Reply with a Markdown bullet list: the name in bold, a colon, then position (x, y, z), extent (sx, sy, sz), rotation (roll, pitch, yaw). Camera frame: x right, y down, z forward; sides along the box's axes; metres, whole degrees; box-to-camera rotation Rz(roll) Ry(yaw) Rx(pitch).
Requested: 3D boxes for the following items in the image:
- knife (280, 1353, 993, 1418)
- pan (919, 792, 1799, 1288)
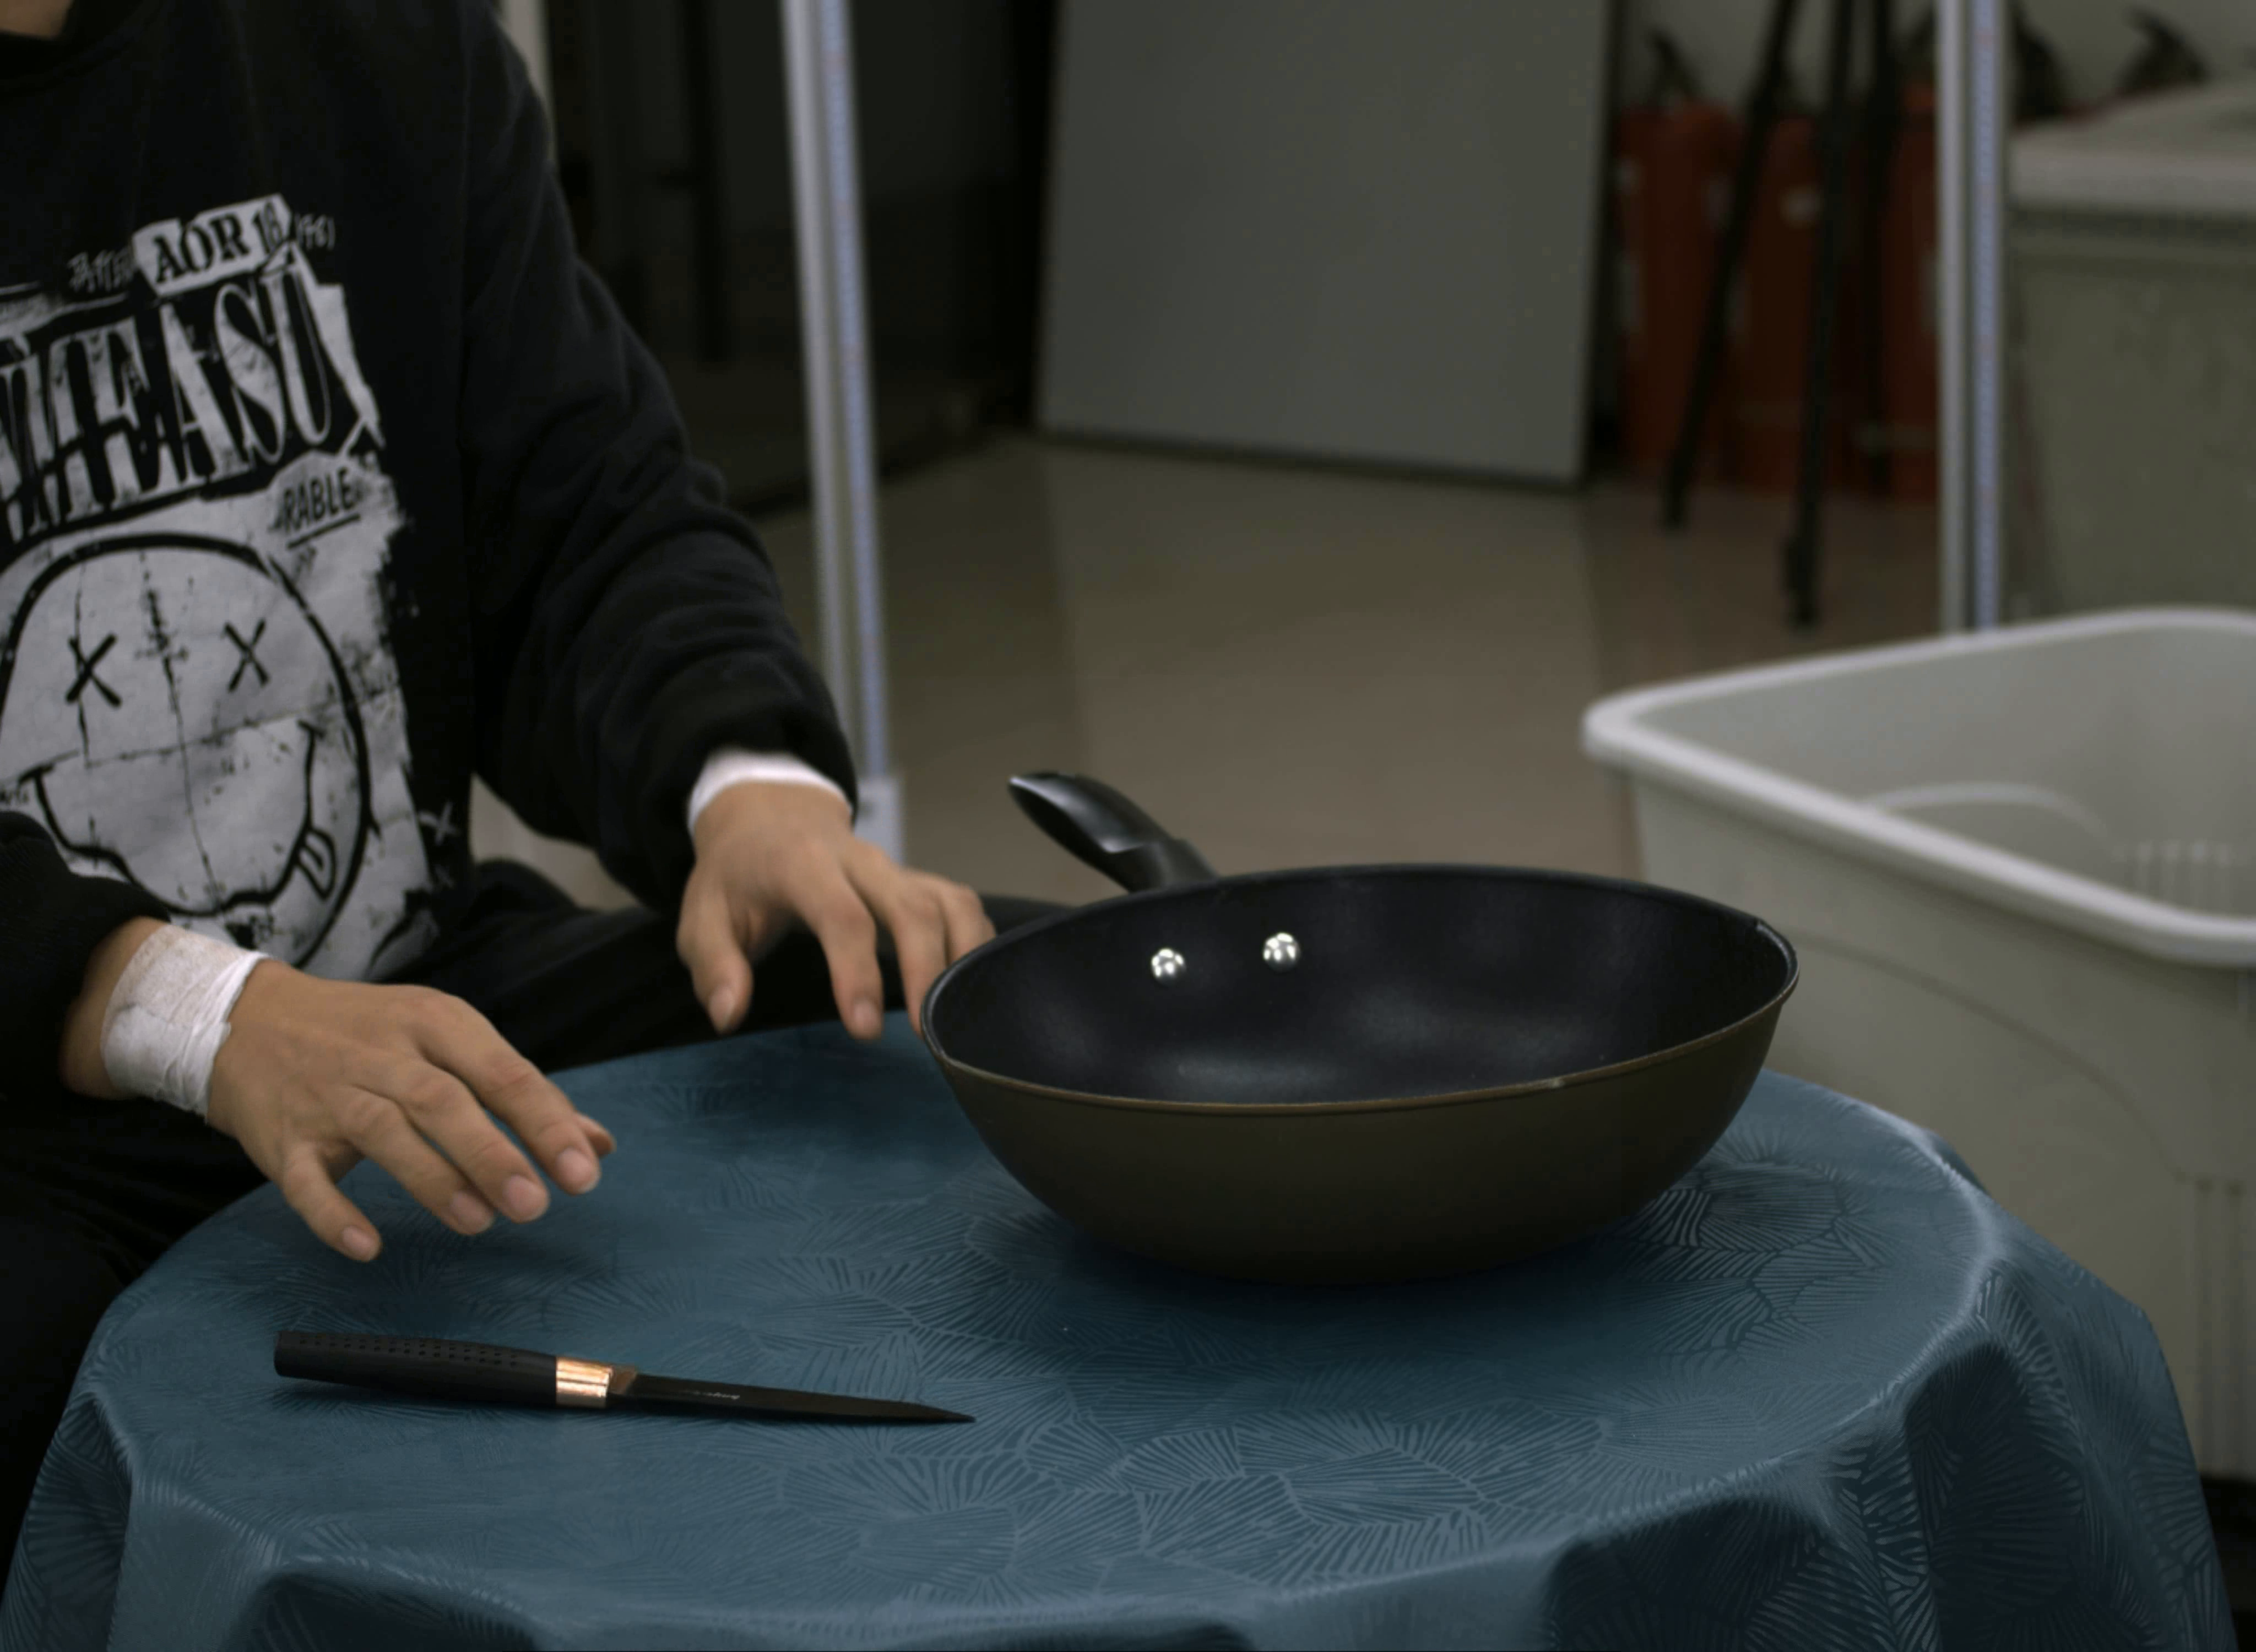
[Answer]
- **knife**: position (-0.147, 0.169, 1.610), extent (0.225, 0.017, 0.026), rotation (1, 3, 18)
- **pan**: position (0.046, 0.068, 1.807), extent (0.282, 0.088, 0.467), rotation (-9, 13, -17)
